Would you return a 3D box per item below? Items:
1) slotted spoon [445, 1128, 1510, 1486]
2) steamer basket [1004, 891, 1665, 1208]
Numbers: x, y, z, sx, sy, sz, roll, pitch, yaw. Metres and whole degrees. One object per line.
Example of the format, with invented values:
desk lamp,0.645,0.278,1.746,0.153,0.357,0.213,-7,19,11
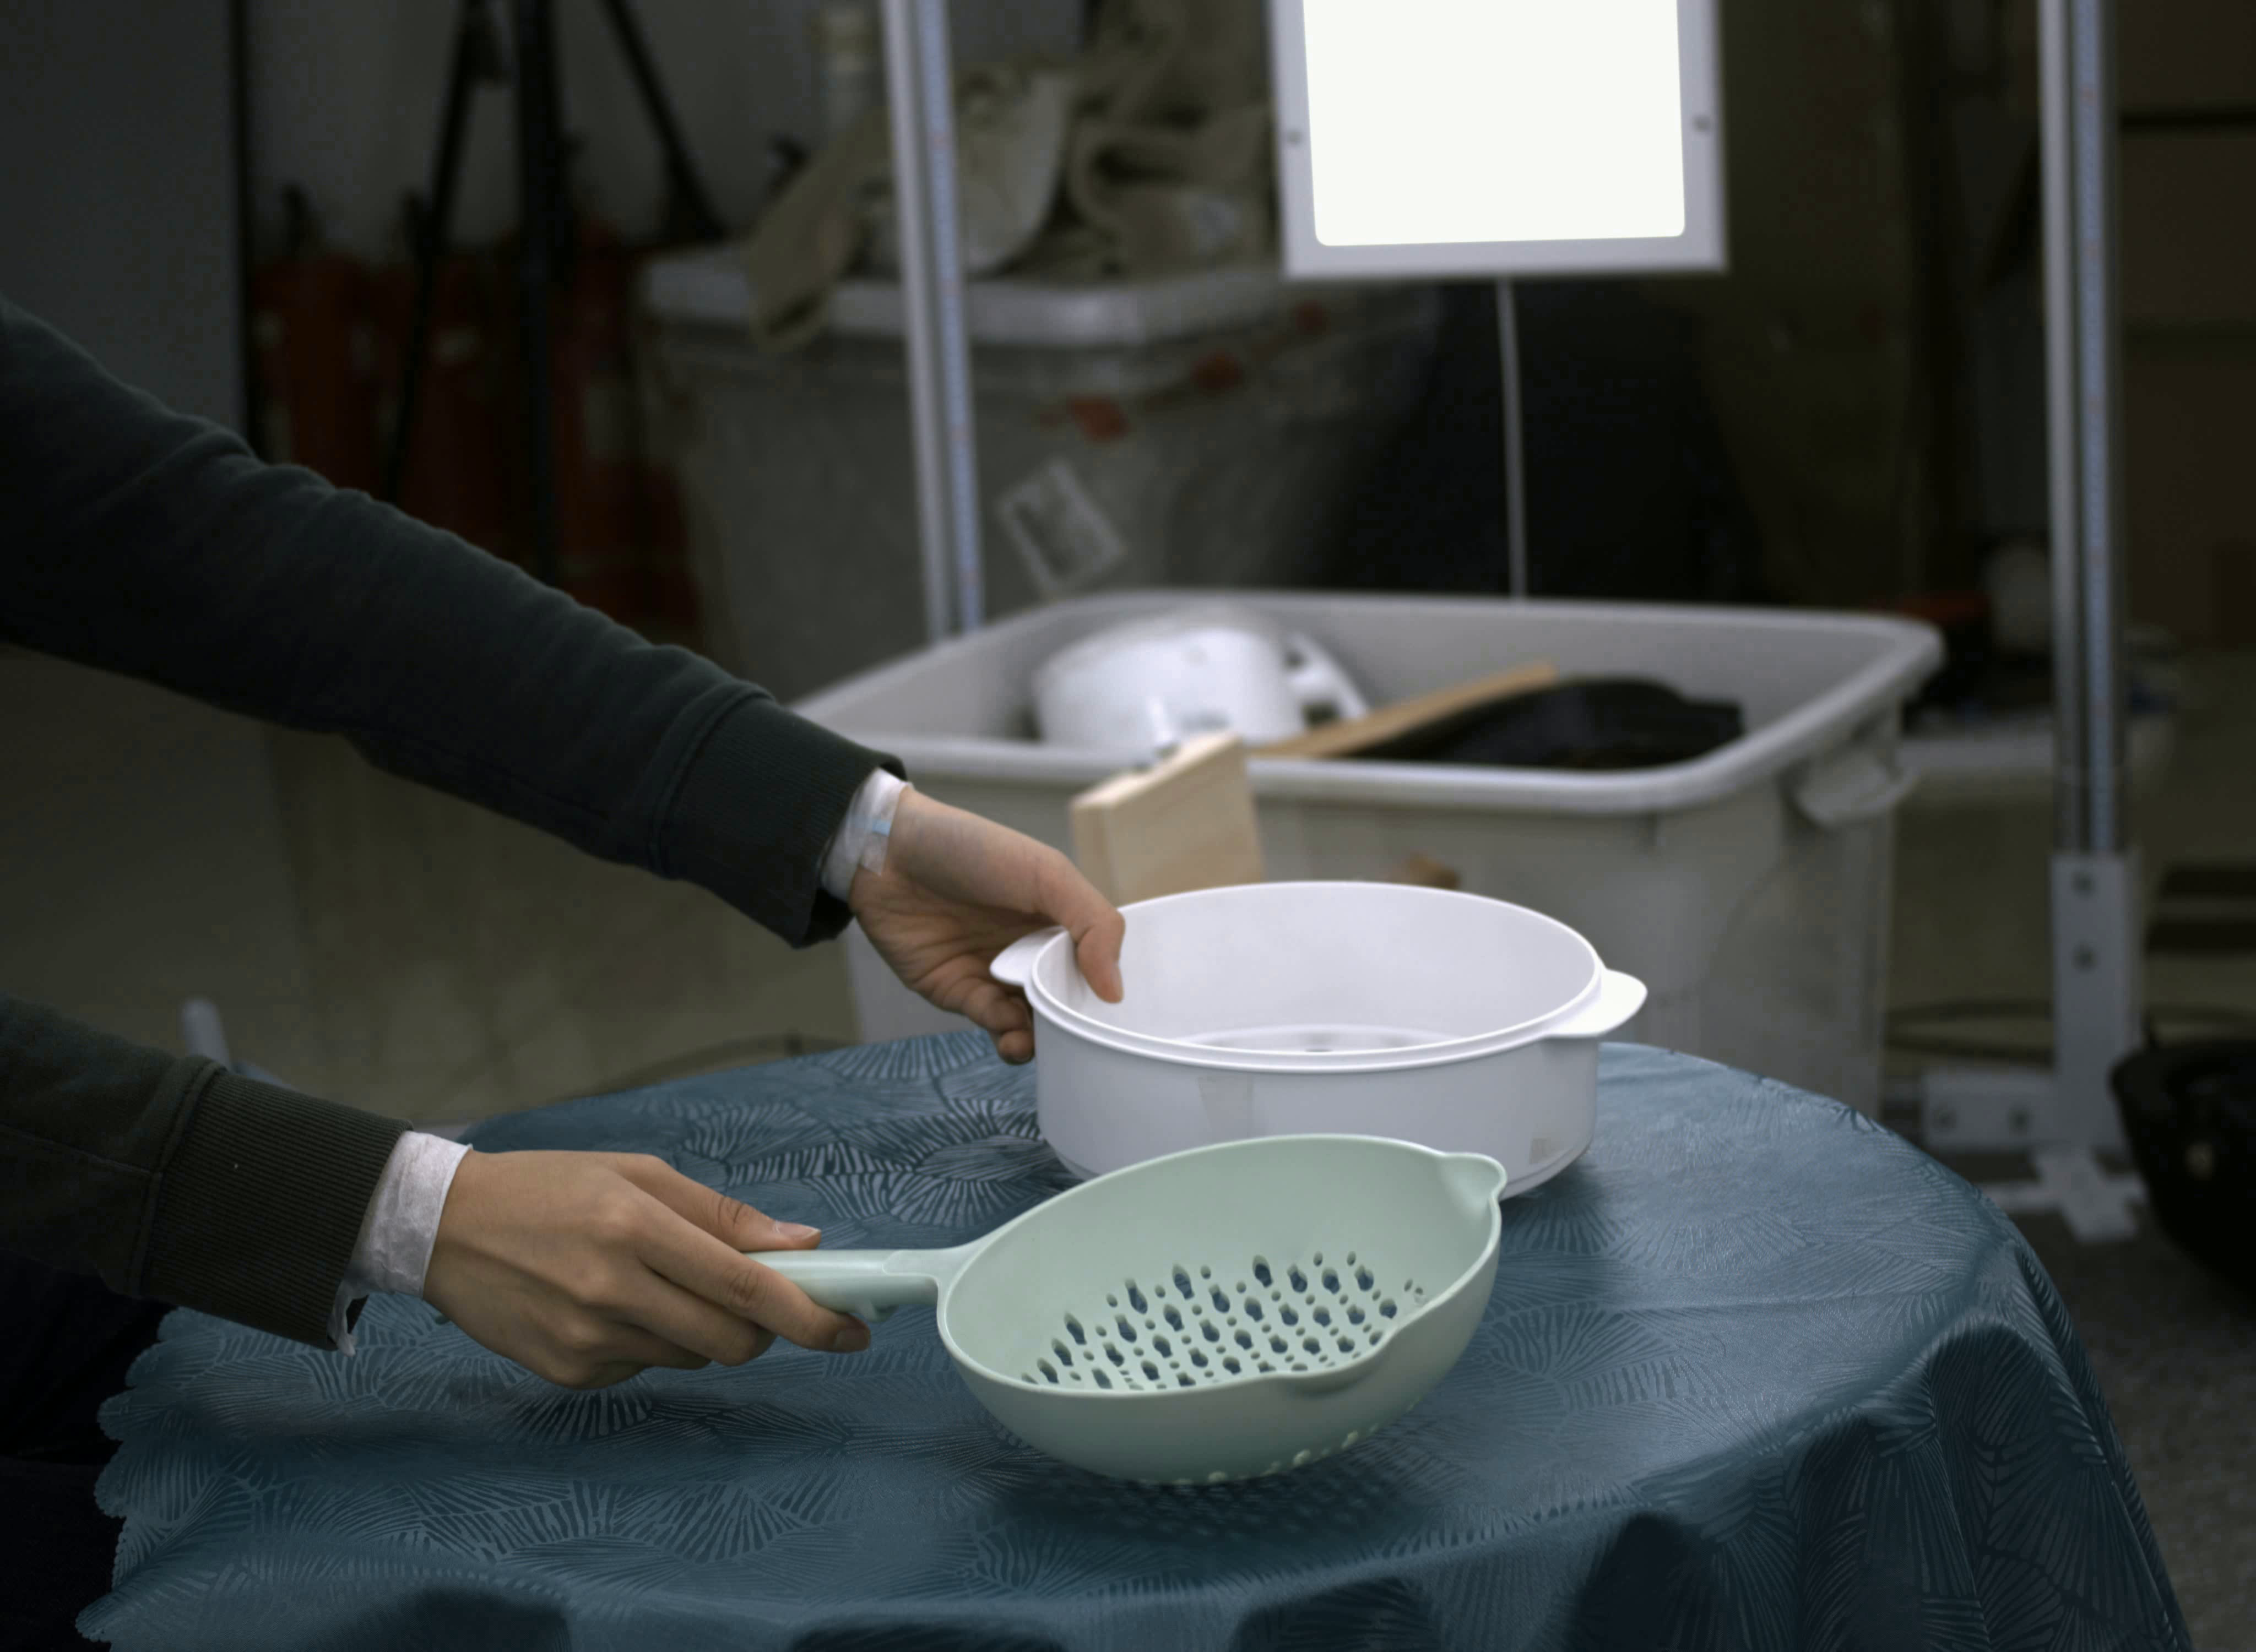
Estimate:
slotted spoon,-0.057,0.142,1.676,0.364,0.075,0.166,5,25,25
steamer basket,0.070,0.080,1.894,0.234,0.069,0.198,4,16,21
